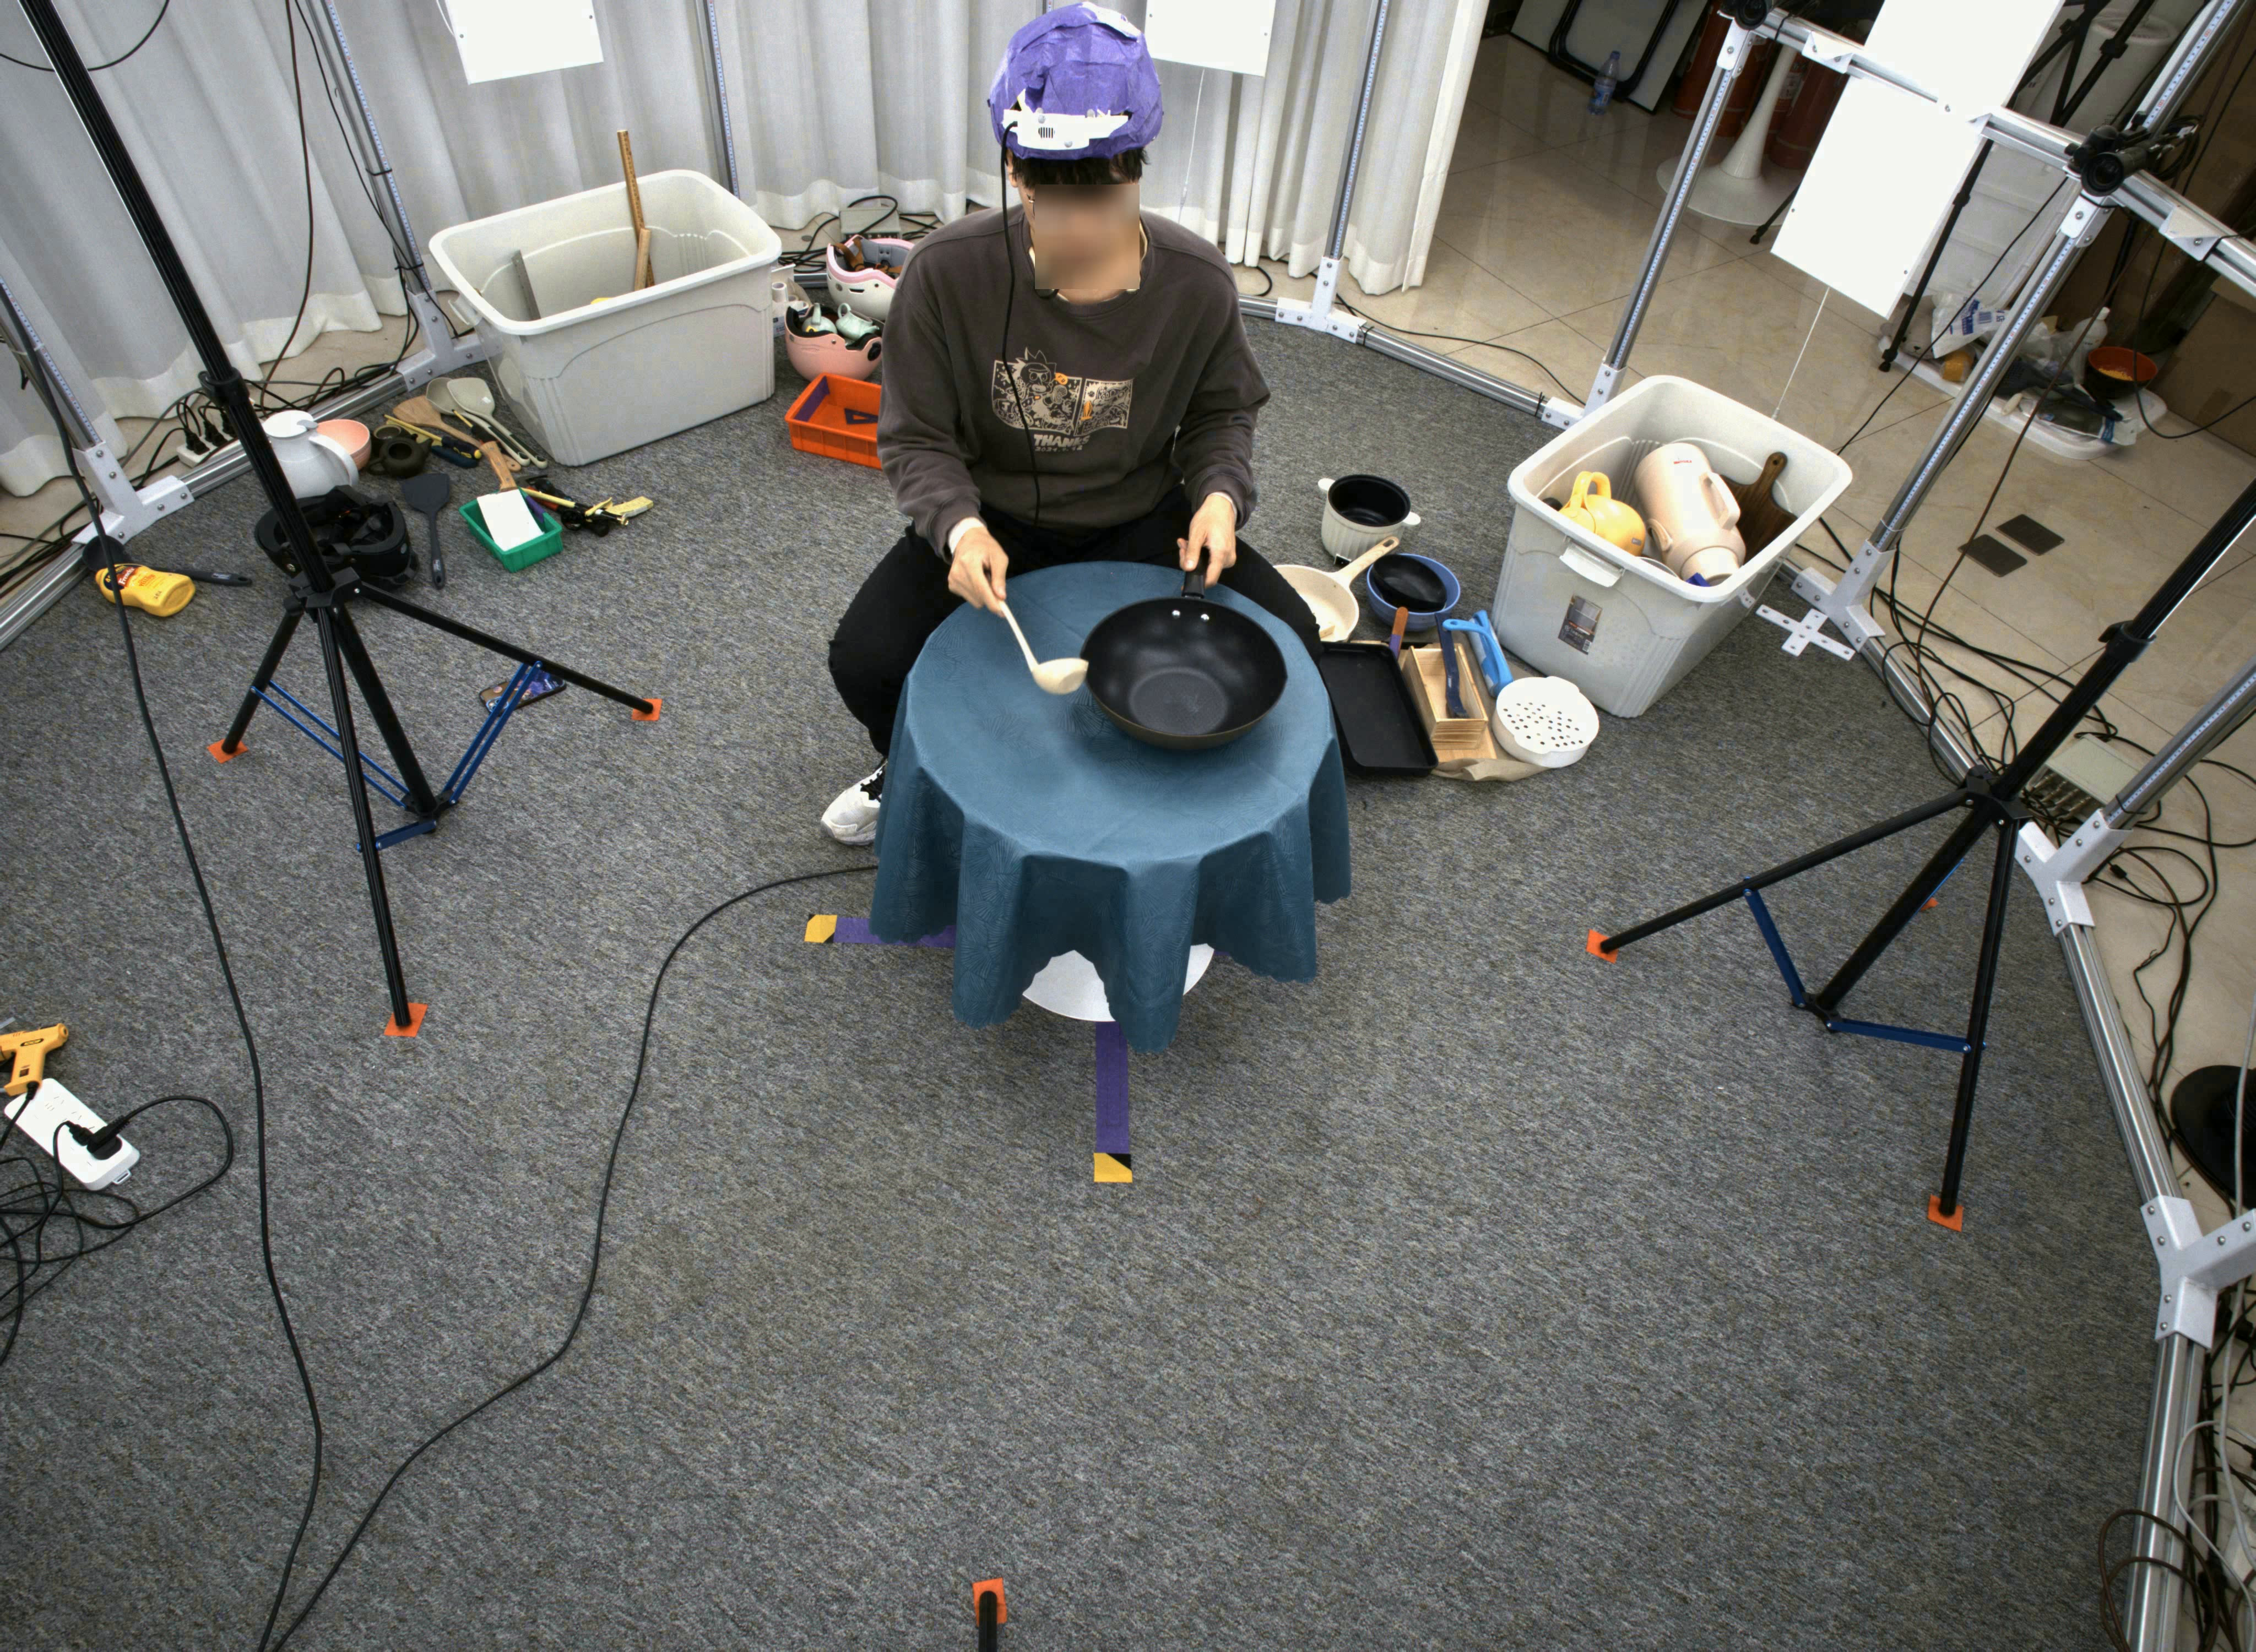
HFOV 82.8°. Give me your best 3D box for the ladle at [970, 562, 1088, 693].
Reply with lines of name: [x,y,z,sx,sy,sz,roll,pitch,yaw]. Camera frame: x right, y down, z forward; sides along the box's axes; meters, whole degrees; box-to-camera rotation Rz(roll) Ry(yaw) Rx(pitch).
ladle: [-0.135,-0.288,1.729,0.071,0.072,0.259,3,50,-51]

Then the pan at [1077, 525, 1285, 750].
pan: [0.083,-0.268,1.850,0.288,0.085,0.474,7,48,3]
